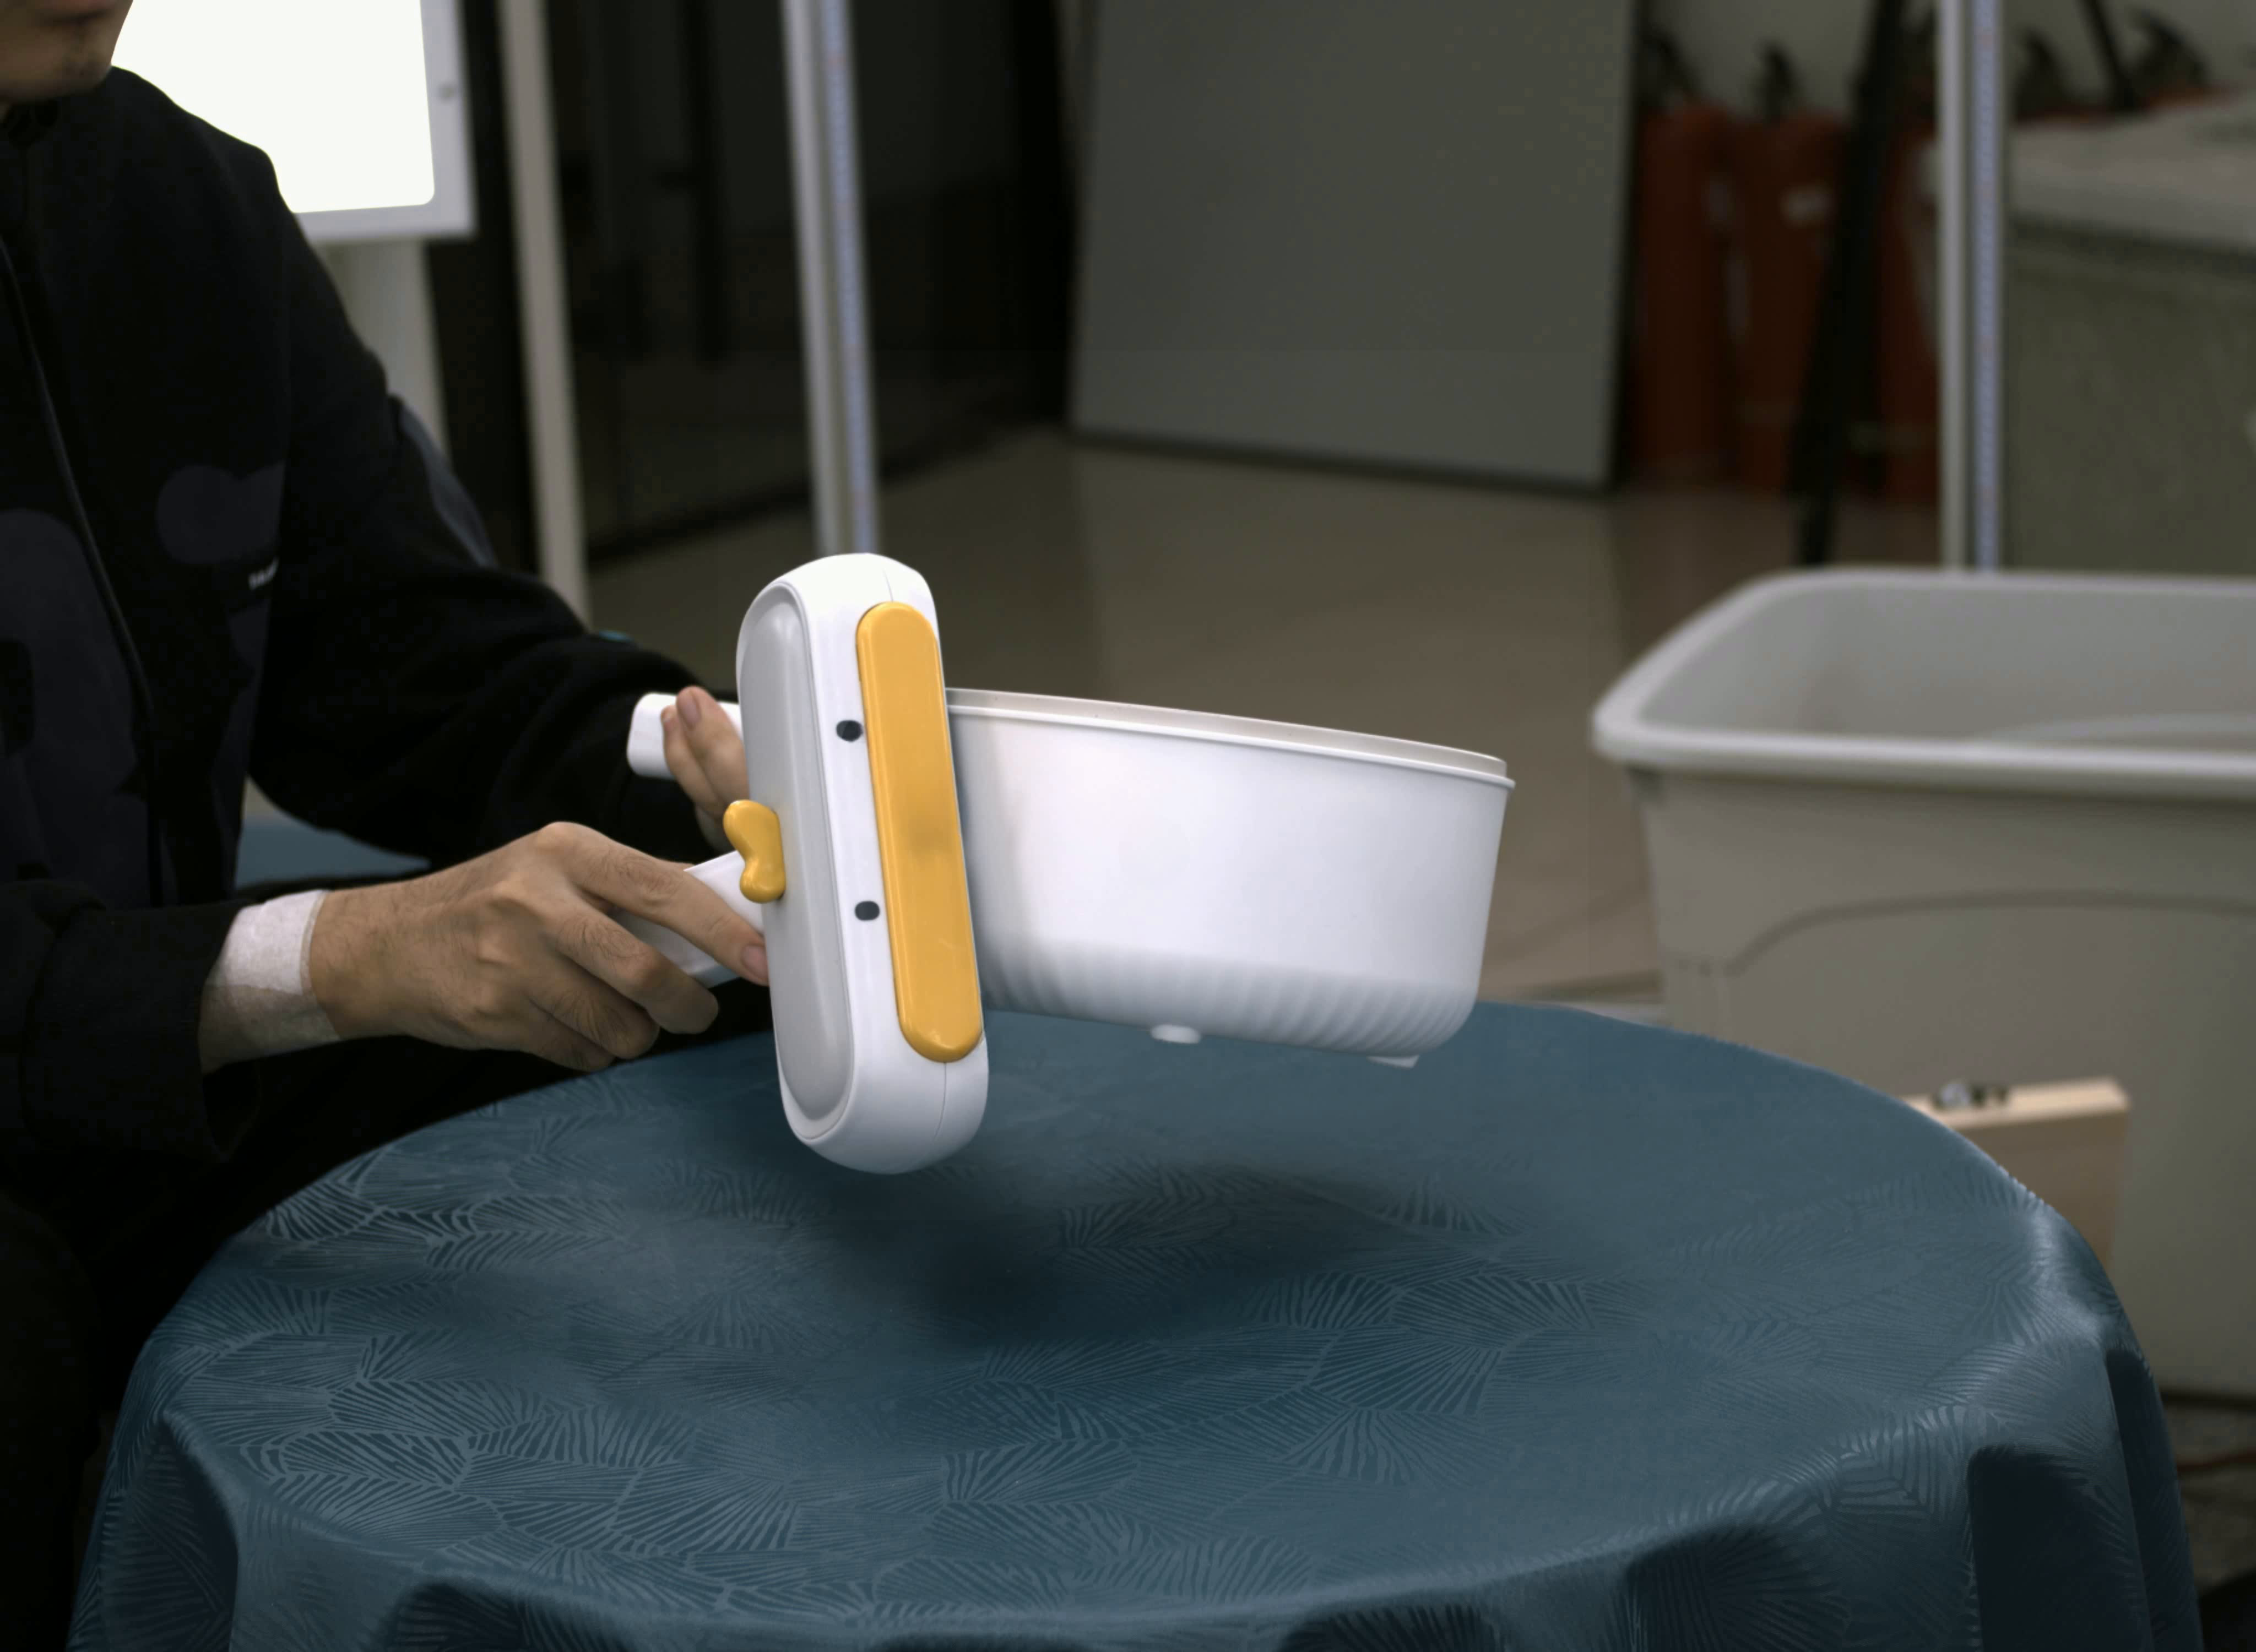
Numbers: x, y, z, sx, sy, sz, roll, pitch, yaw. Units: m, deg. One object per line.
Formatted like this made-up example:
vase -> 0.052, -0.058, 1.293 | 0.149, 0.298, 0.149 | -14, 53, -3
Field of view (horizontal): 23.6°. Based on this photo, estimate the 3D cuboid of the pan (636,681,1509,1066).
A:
pan -> -0.037, 0.013, 1.763 | 0.358, 0.103, 0.197 | 4, -3, 45

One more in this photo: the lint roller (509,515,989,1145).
lint roller -> -0.122, 0.022, 1.677 | 0.072, 0.195, 0.194 | 1, -22, -38
